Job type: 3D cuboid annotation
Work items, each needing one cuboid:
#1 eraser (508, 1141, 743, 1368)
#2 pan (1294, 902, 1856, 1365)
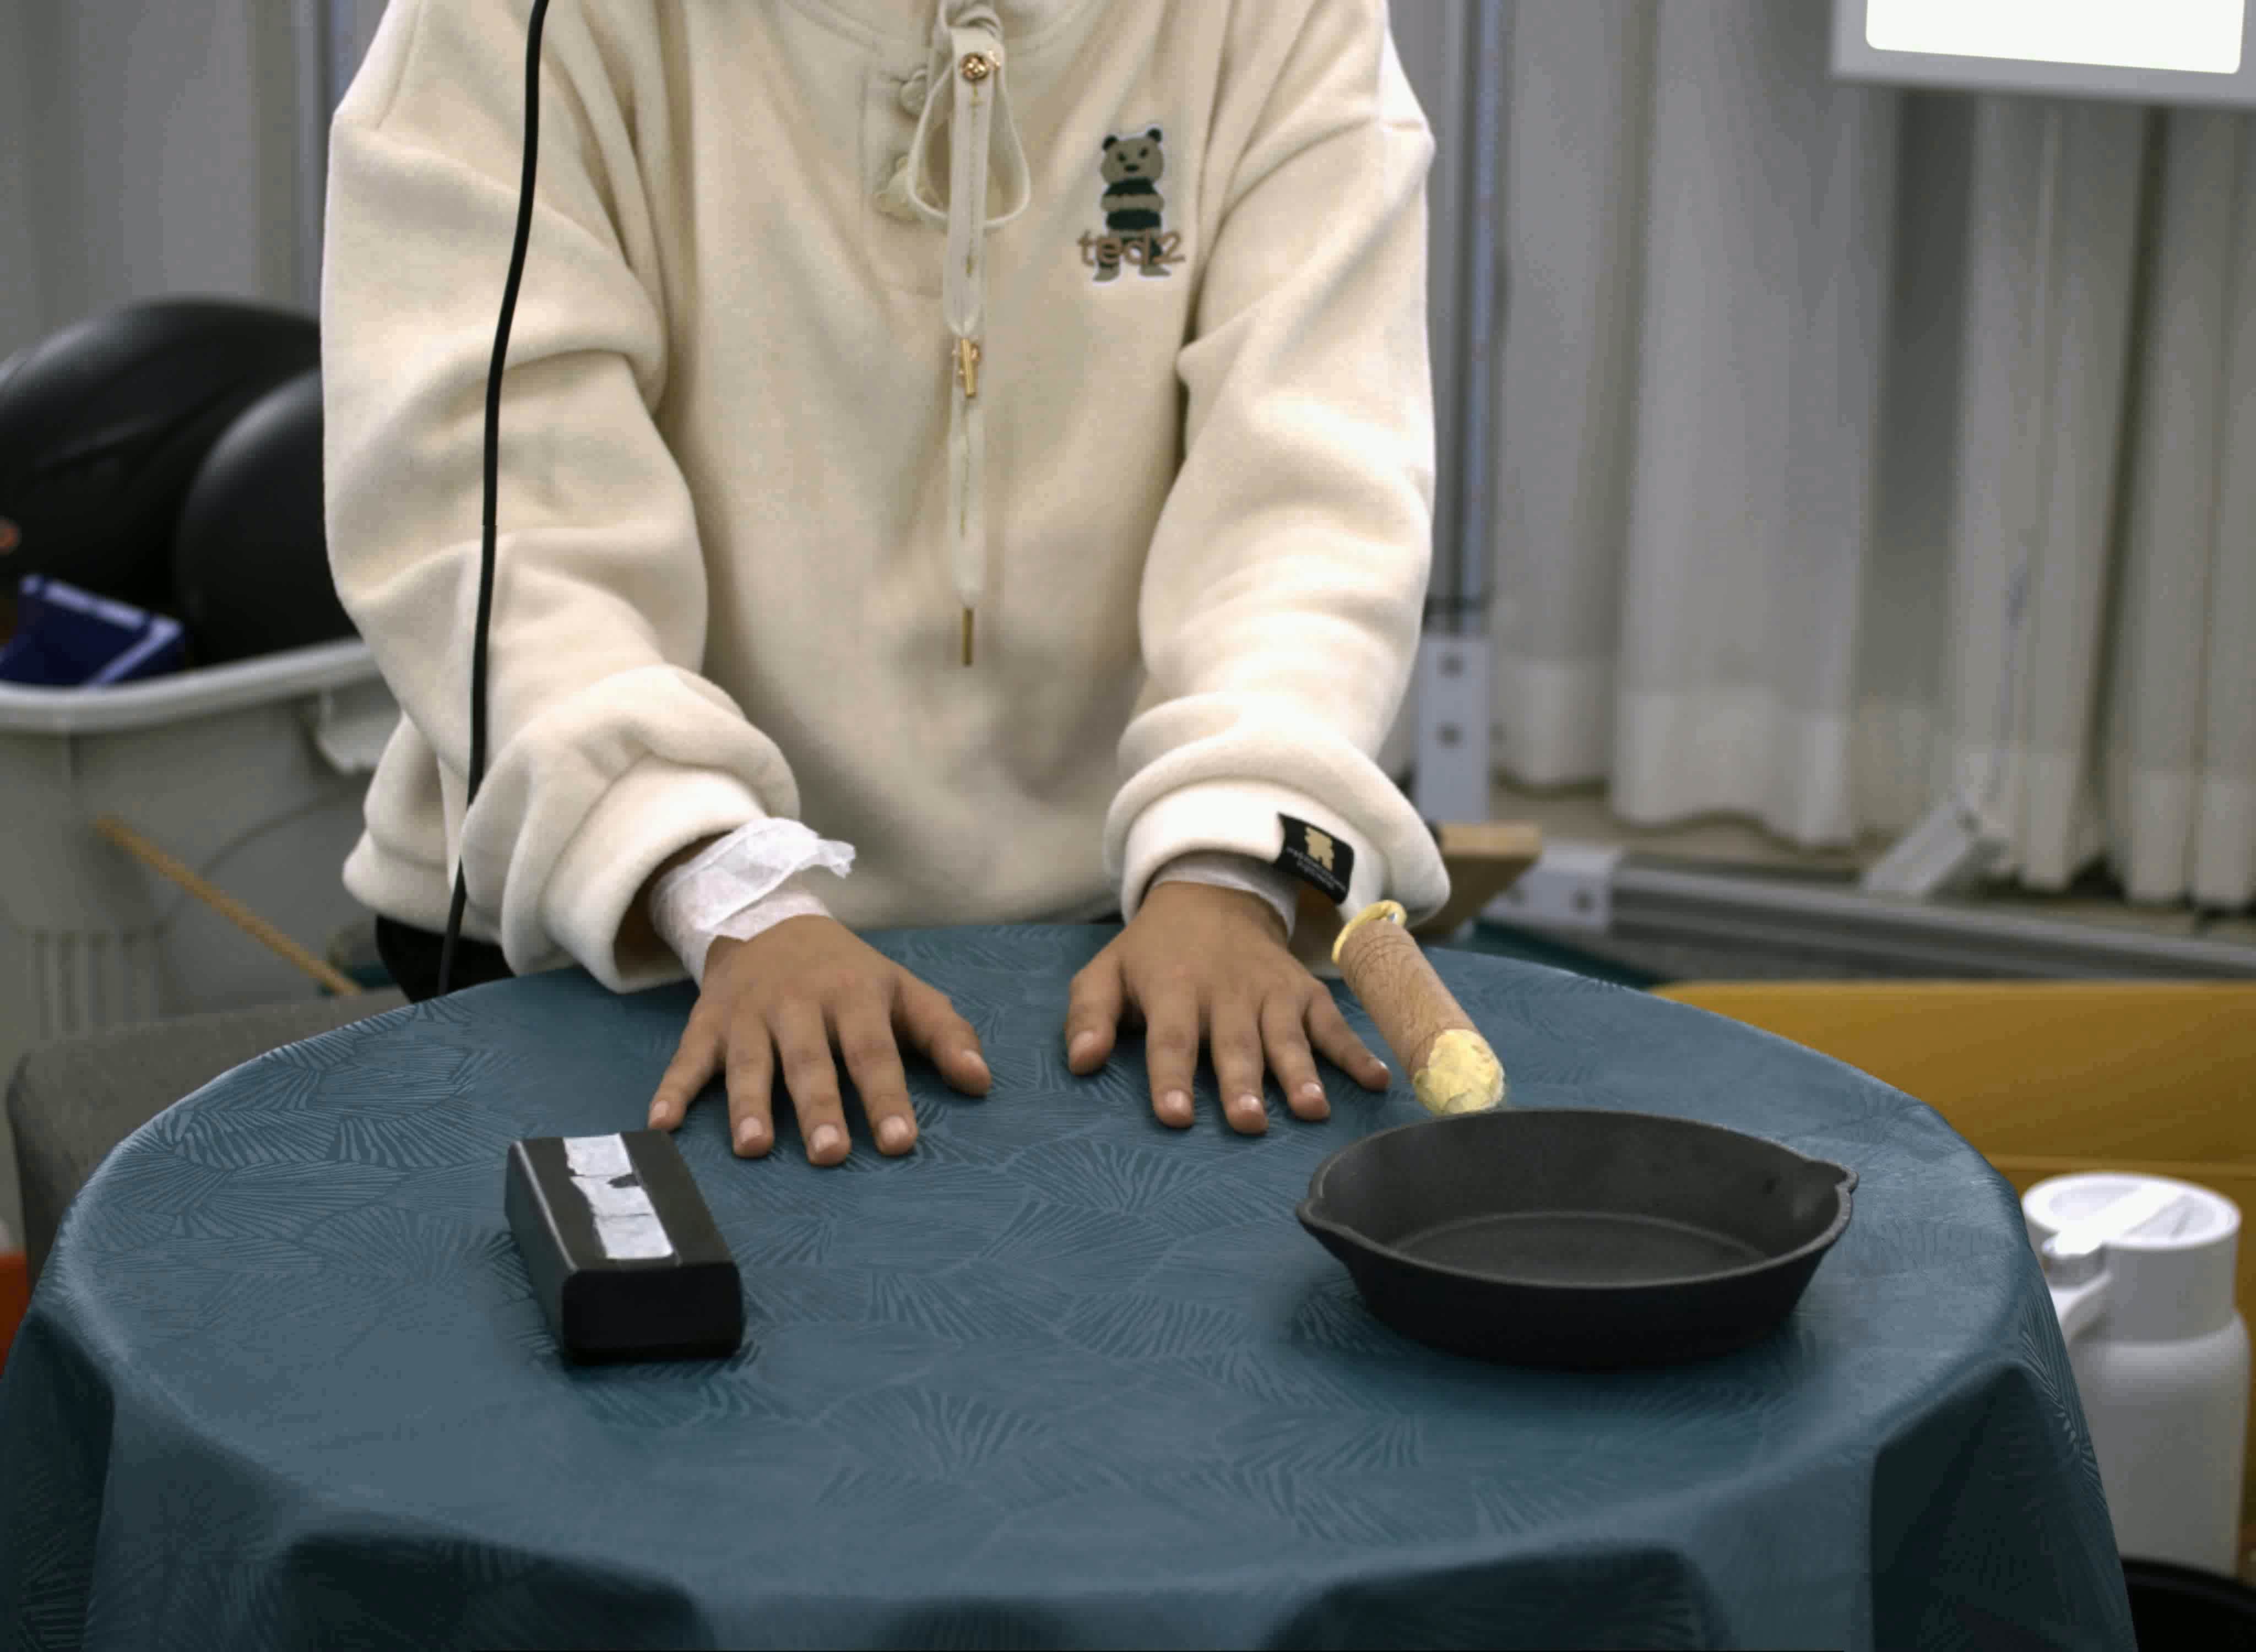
[{"bbox_3d":[-0.146,0.123,1.527,0.053,0.031,0.124,-3,15,-13],"label":"eraser"},{"bbox_3d":[0.114,0.090,1.608,0.169,0.050,0.321,-4,17,-11],"label":"pan"}]
